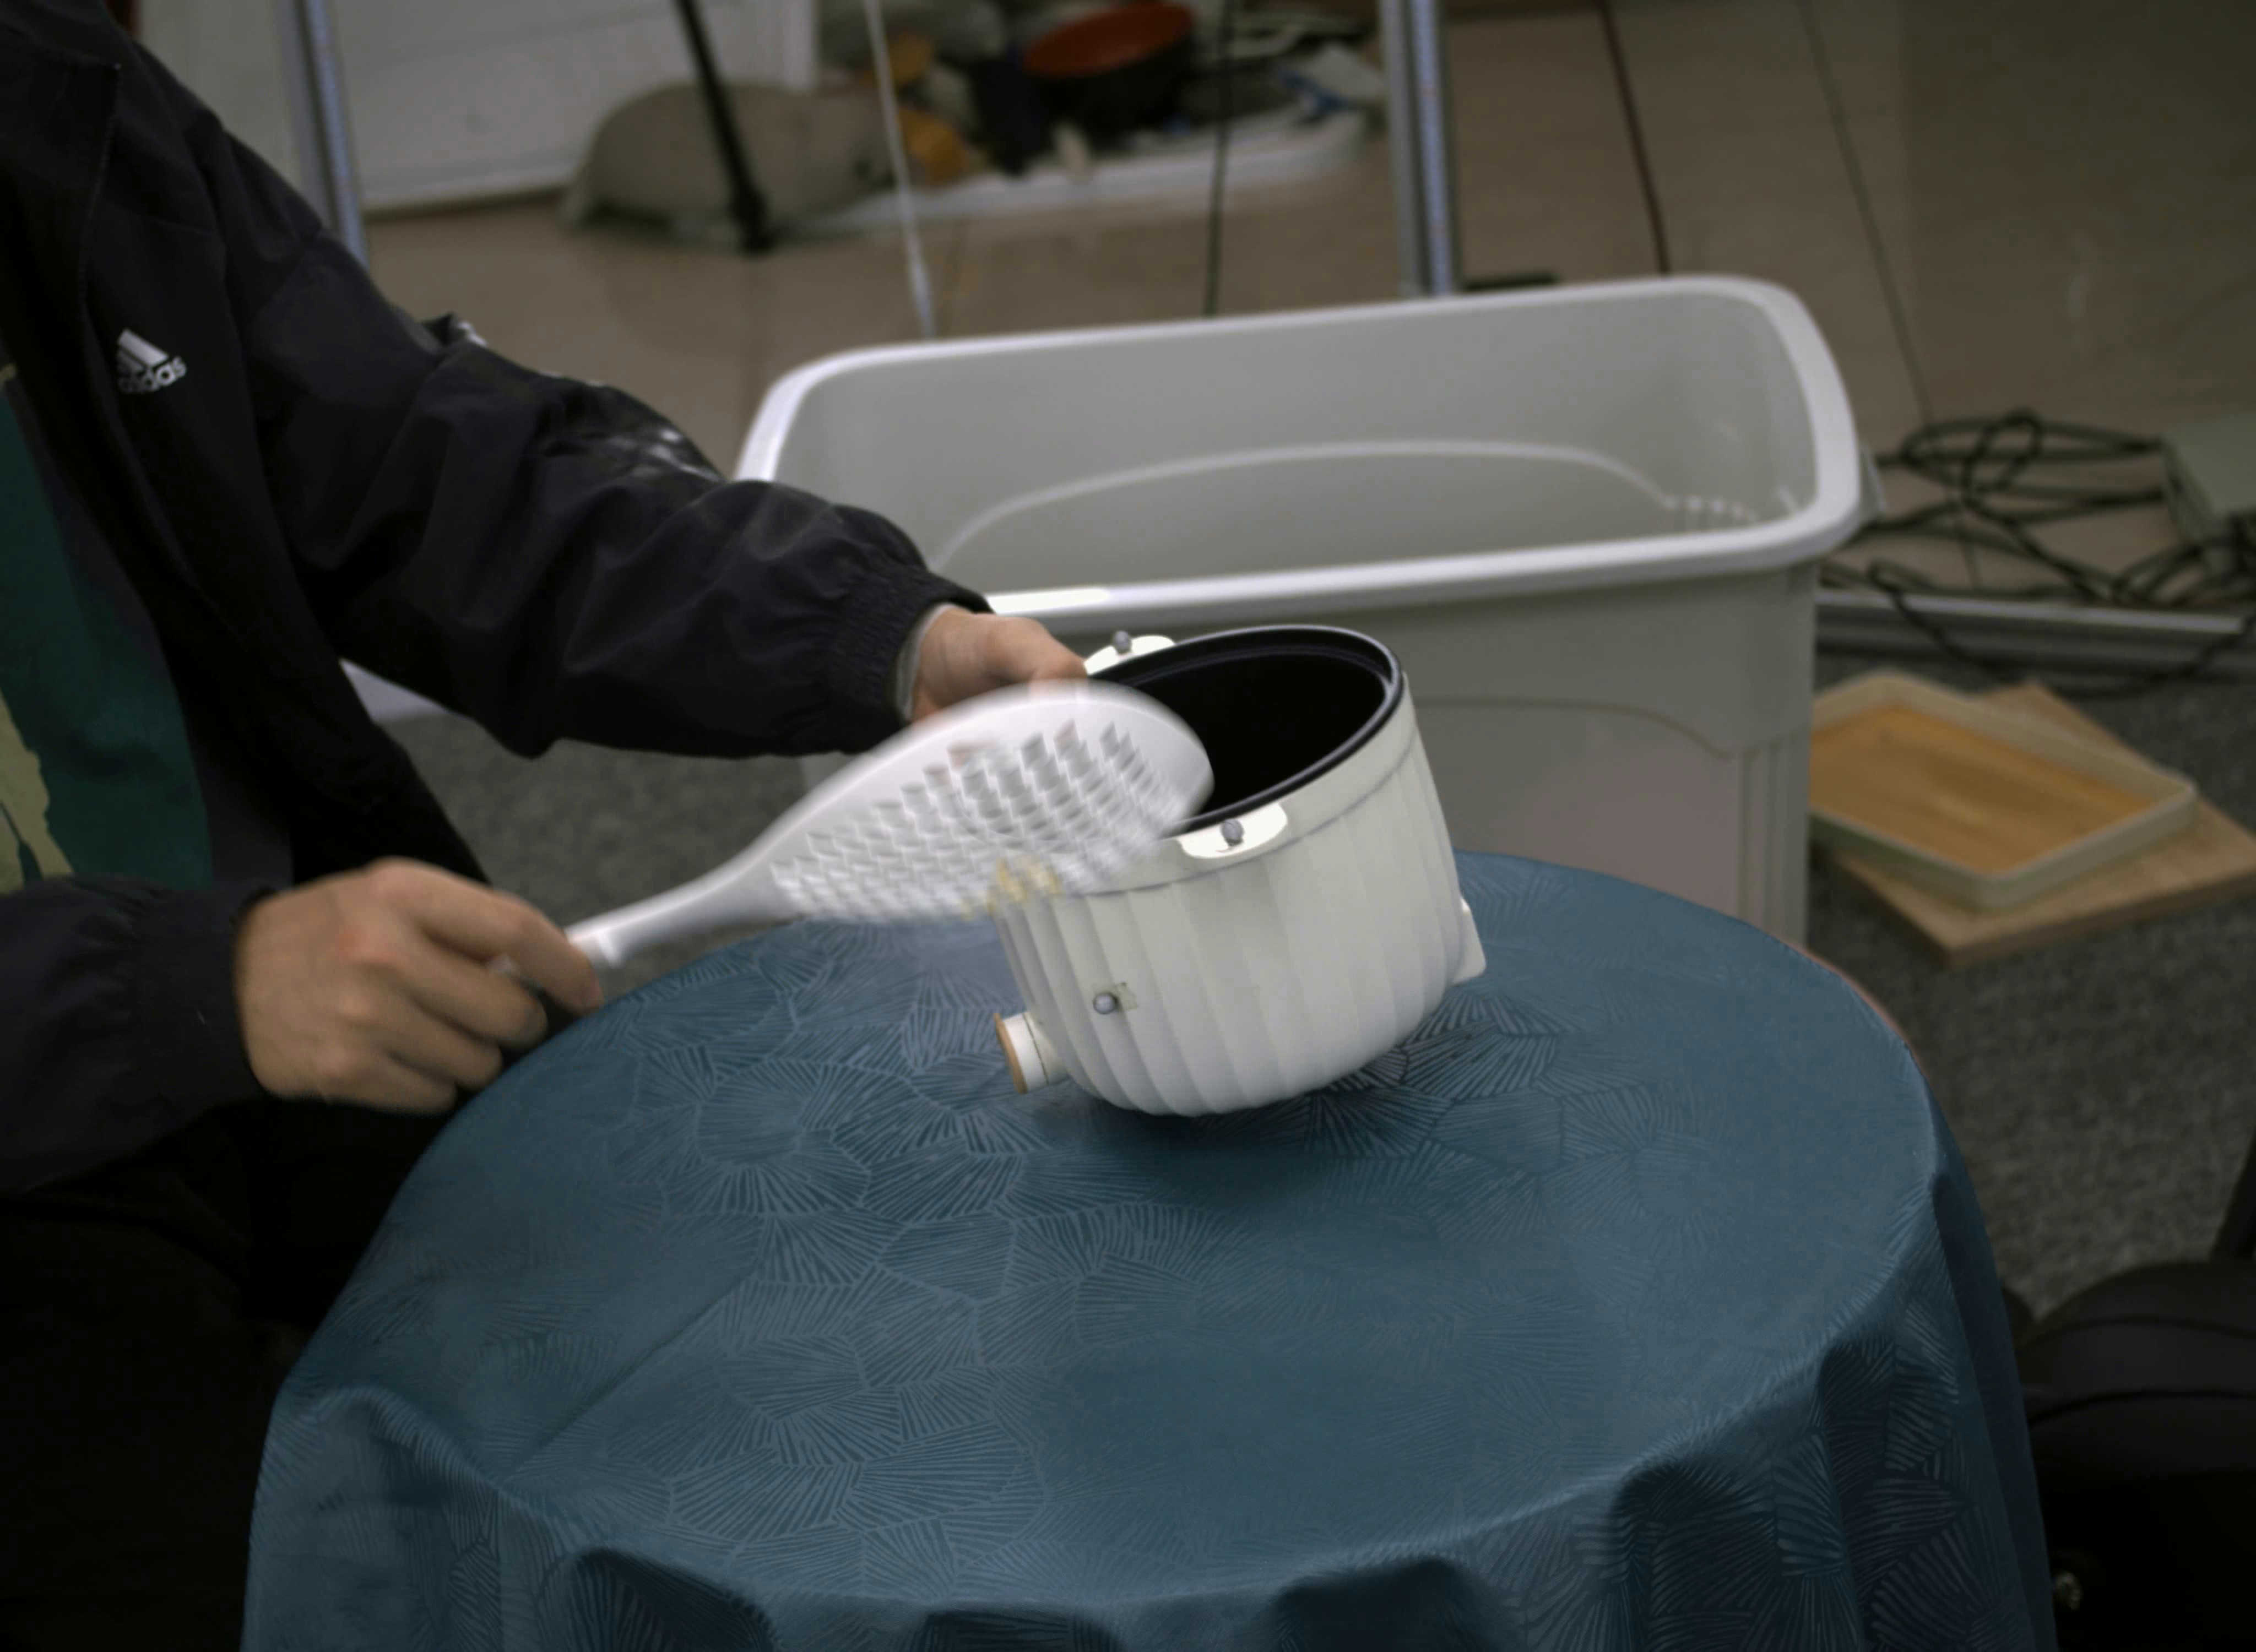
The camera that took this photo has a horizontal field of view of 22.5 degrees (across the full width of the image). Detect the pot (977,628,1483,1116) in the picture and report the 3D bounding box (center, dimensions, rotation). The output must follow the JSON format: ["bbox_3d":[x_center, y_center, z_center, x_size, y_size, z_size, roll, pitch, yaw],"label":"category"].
[{"bbox_3d":[0.033,0.024,2.189,0.190,0.145,0.237,-16,22,-6],"label":"pot"}]

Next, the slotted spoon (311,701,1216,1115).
[{"bbox_3d":[-0.133,0.037,2.014,0.348,0.138,0.050,-16,66,16],"label":"slotted spoon"}]
